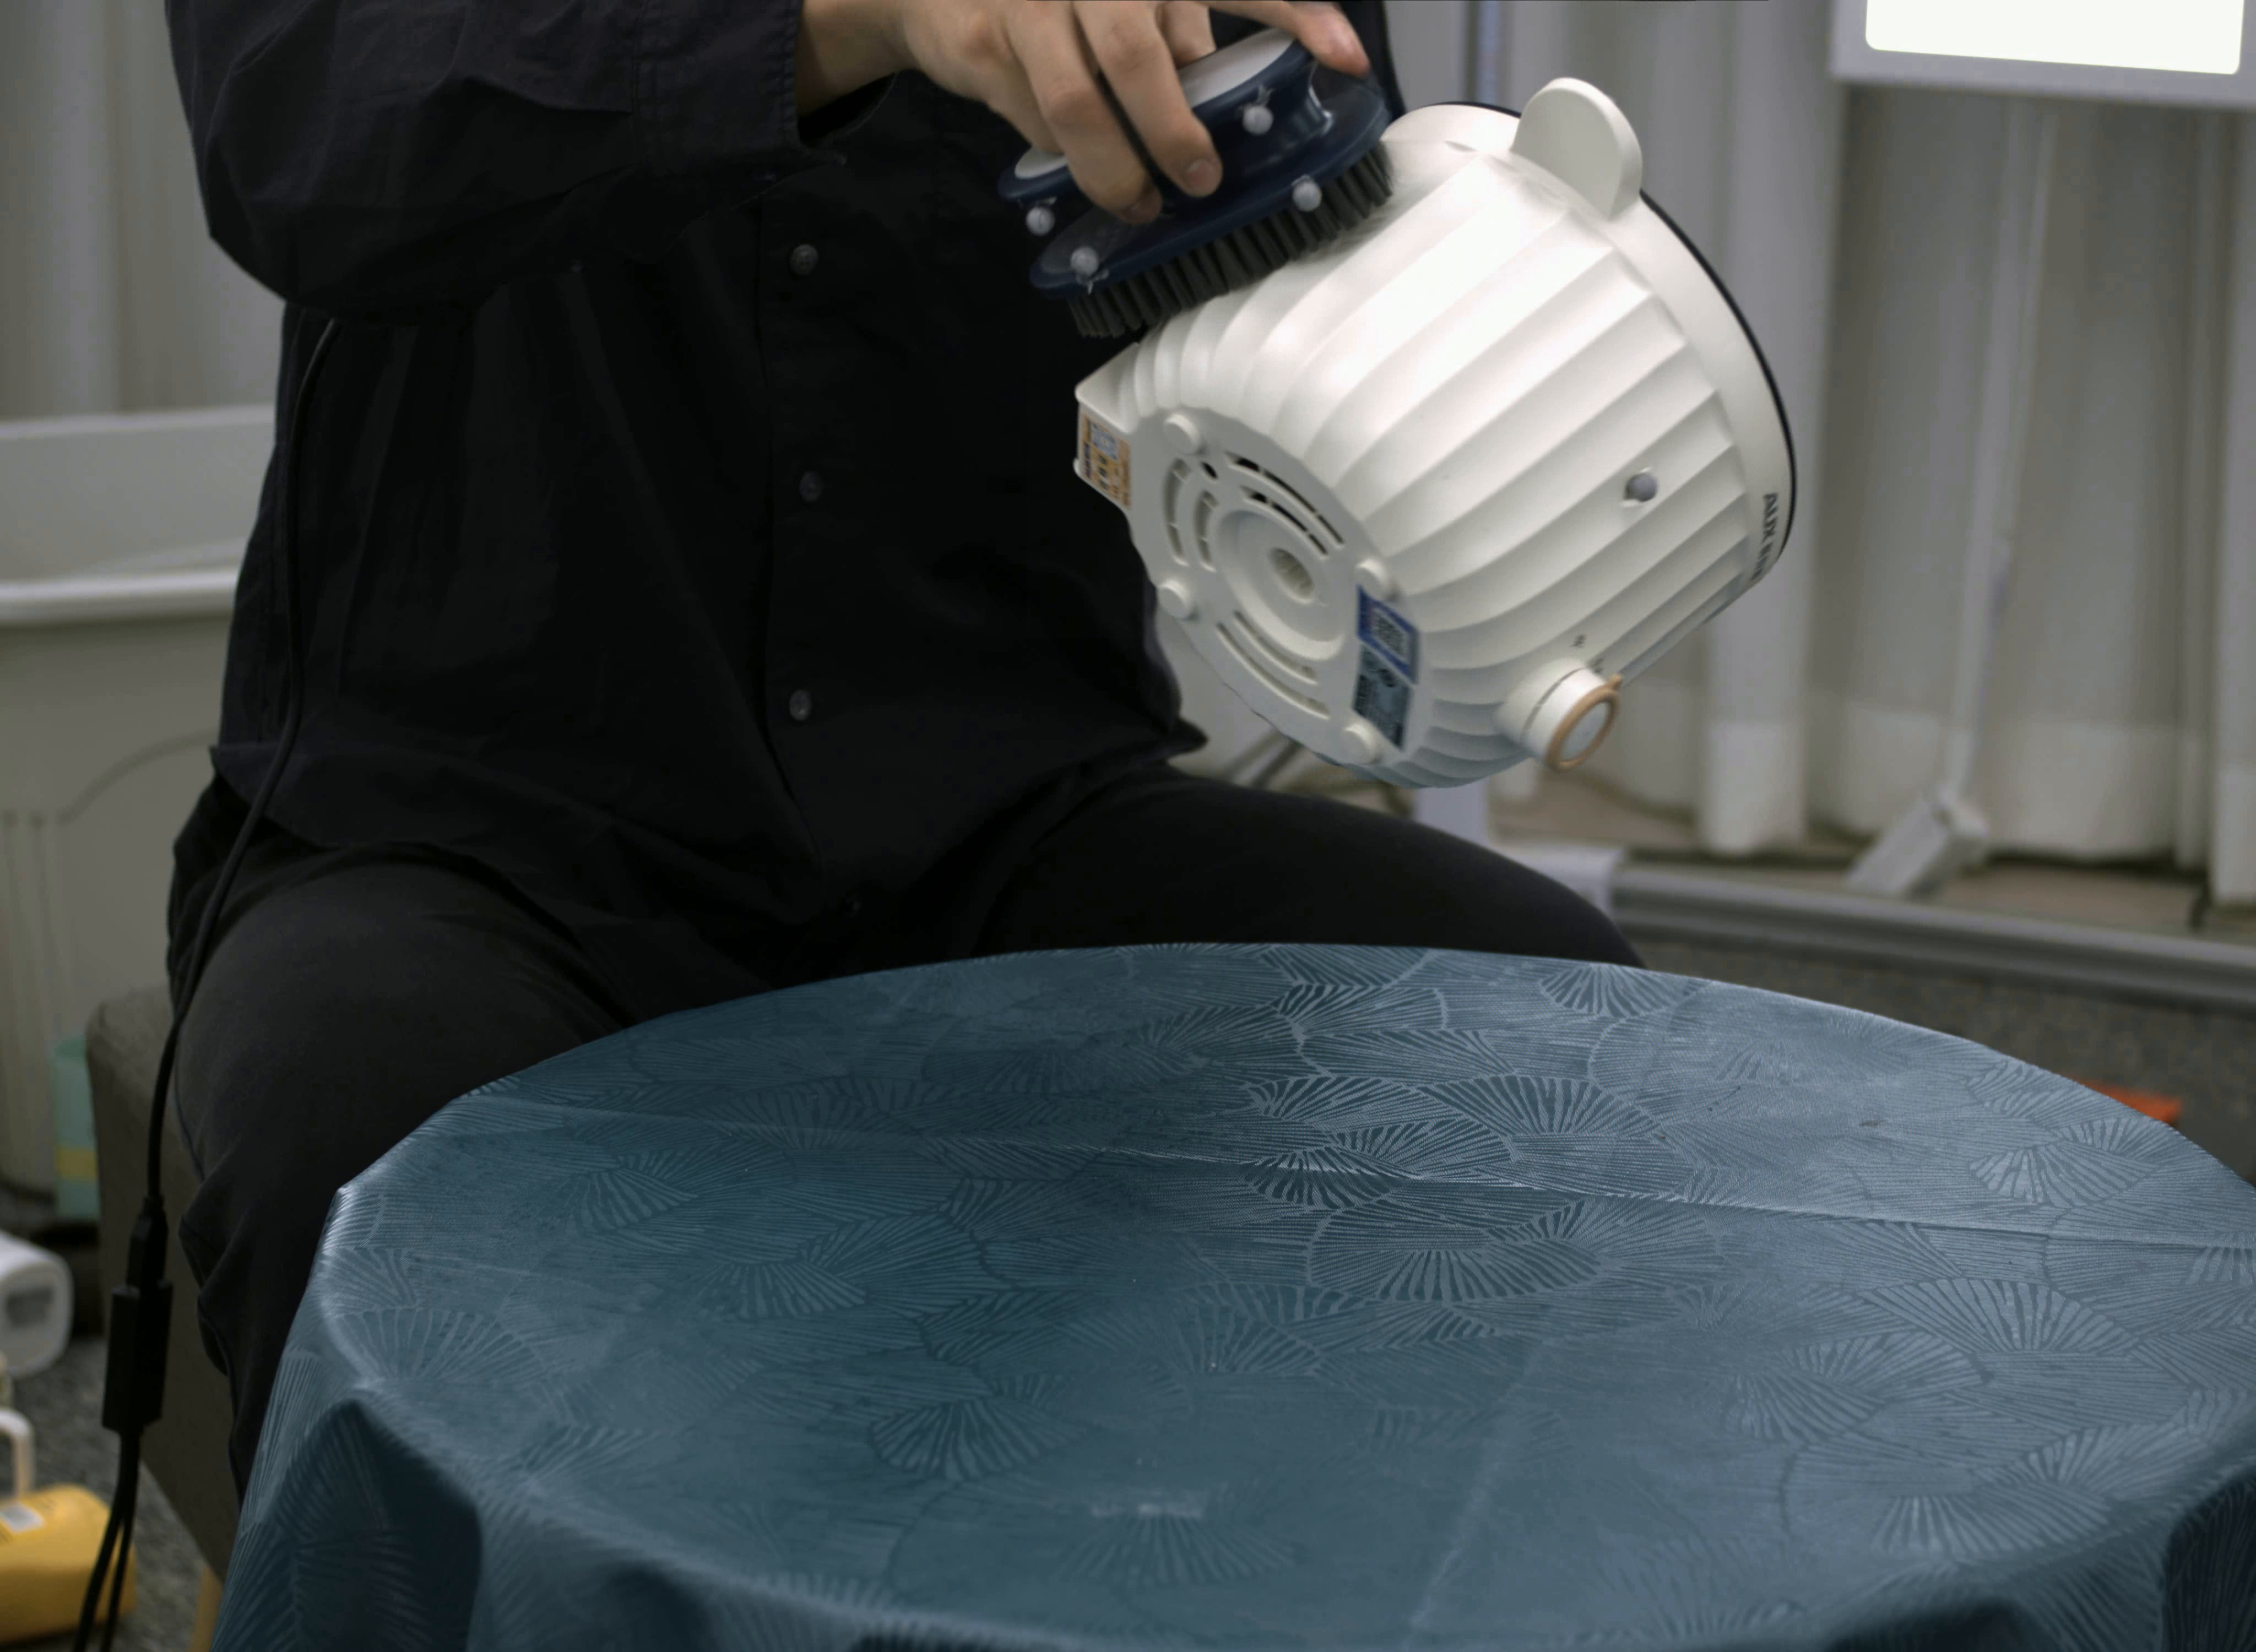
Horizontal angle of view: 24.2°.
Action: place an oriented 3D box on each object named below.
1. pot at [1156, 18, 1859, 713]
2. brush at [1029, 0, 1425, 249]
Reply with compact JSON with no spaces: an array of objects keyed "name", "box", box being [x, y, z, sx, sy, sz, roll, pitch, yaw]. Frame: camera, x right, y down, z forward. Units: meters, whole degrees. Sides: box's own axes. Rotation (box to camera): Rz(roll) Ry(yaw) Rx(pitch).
[{"name":"pot","box":[0.118,-0.127,1.633,0.188,0.243,0.142,37,62,22]},{"name":"brush","box":[0.031,-0.217,1.581,0.121,0.062,0.067,-16,28,27]}]
